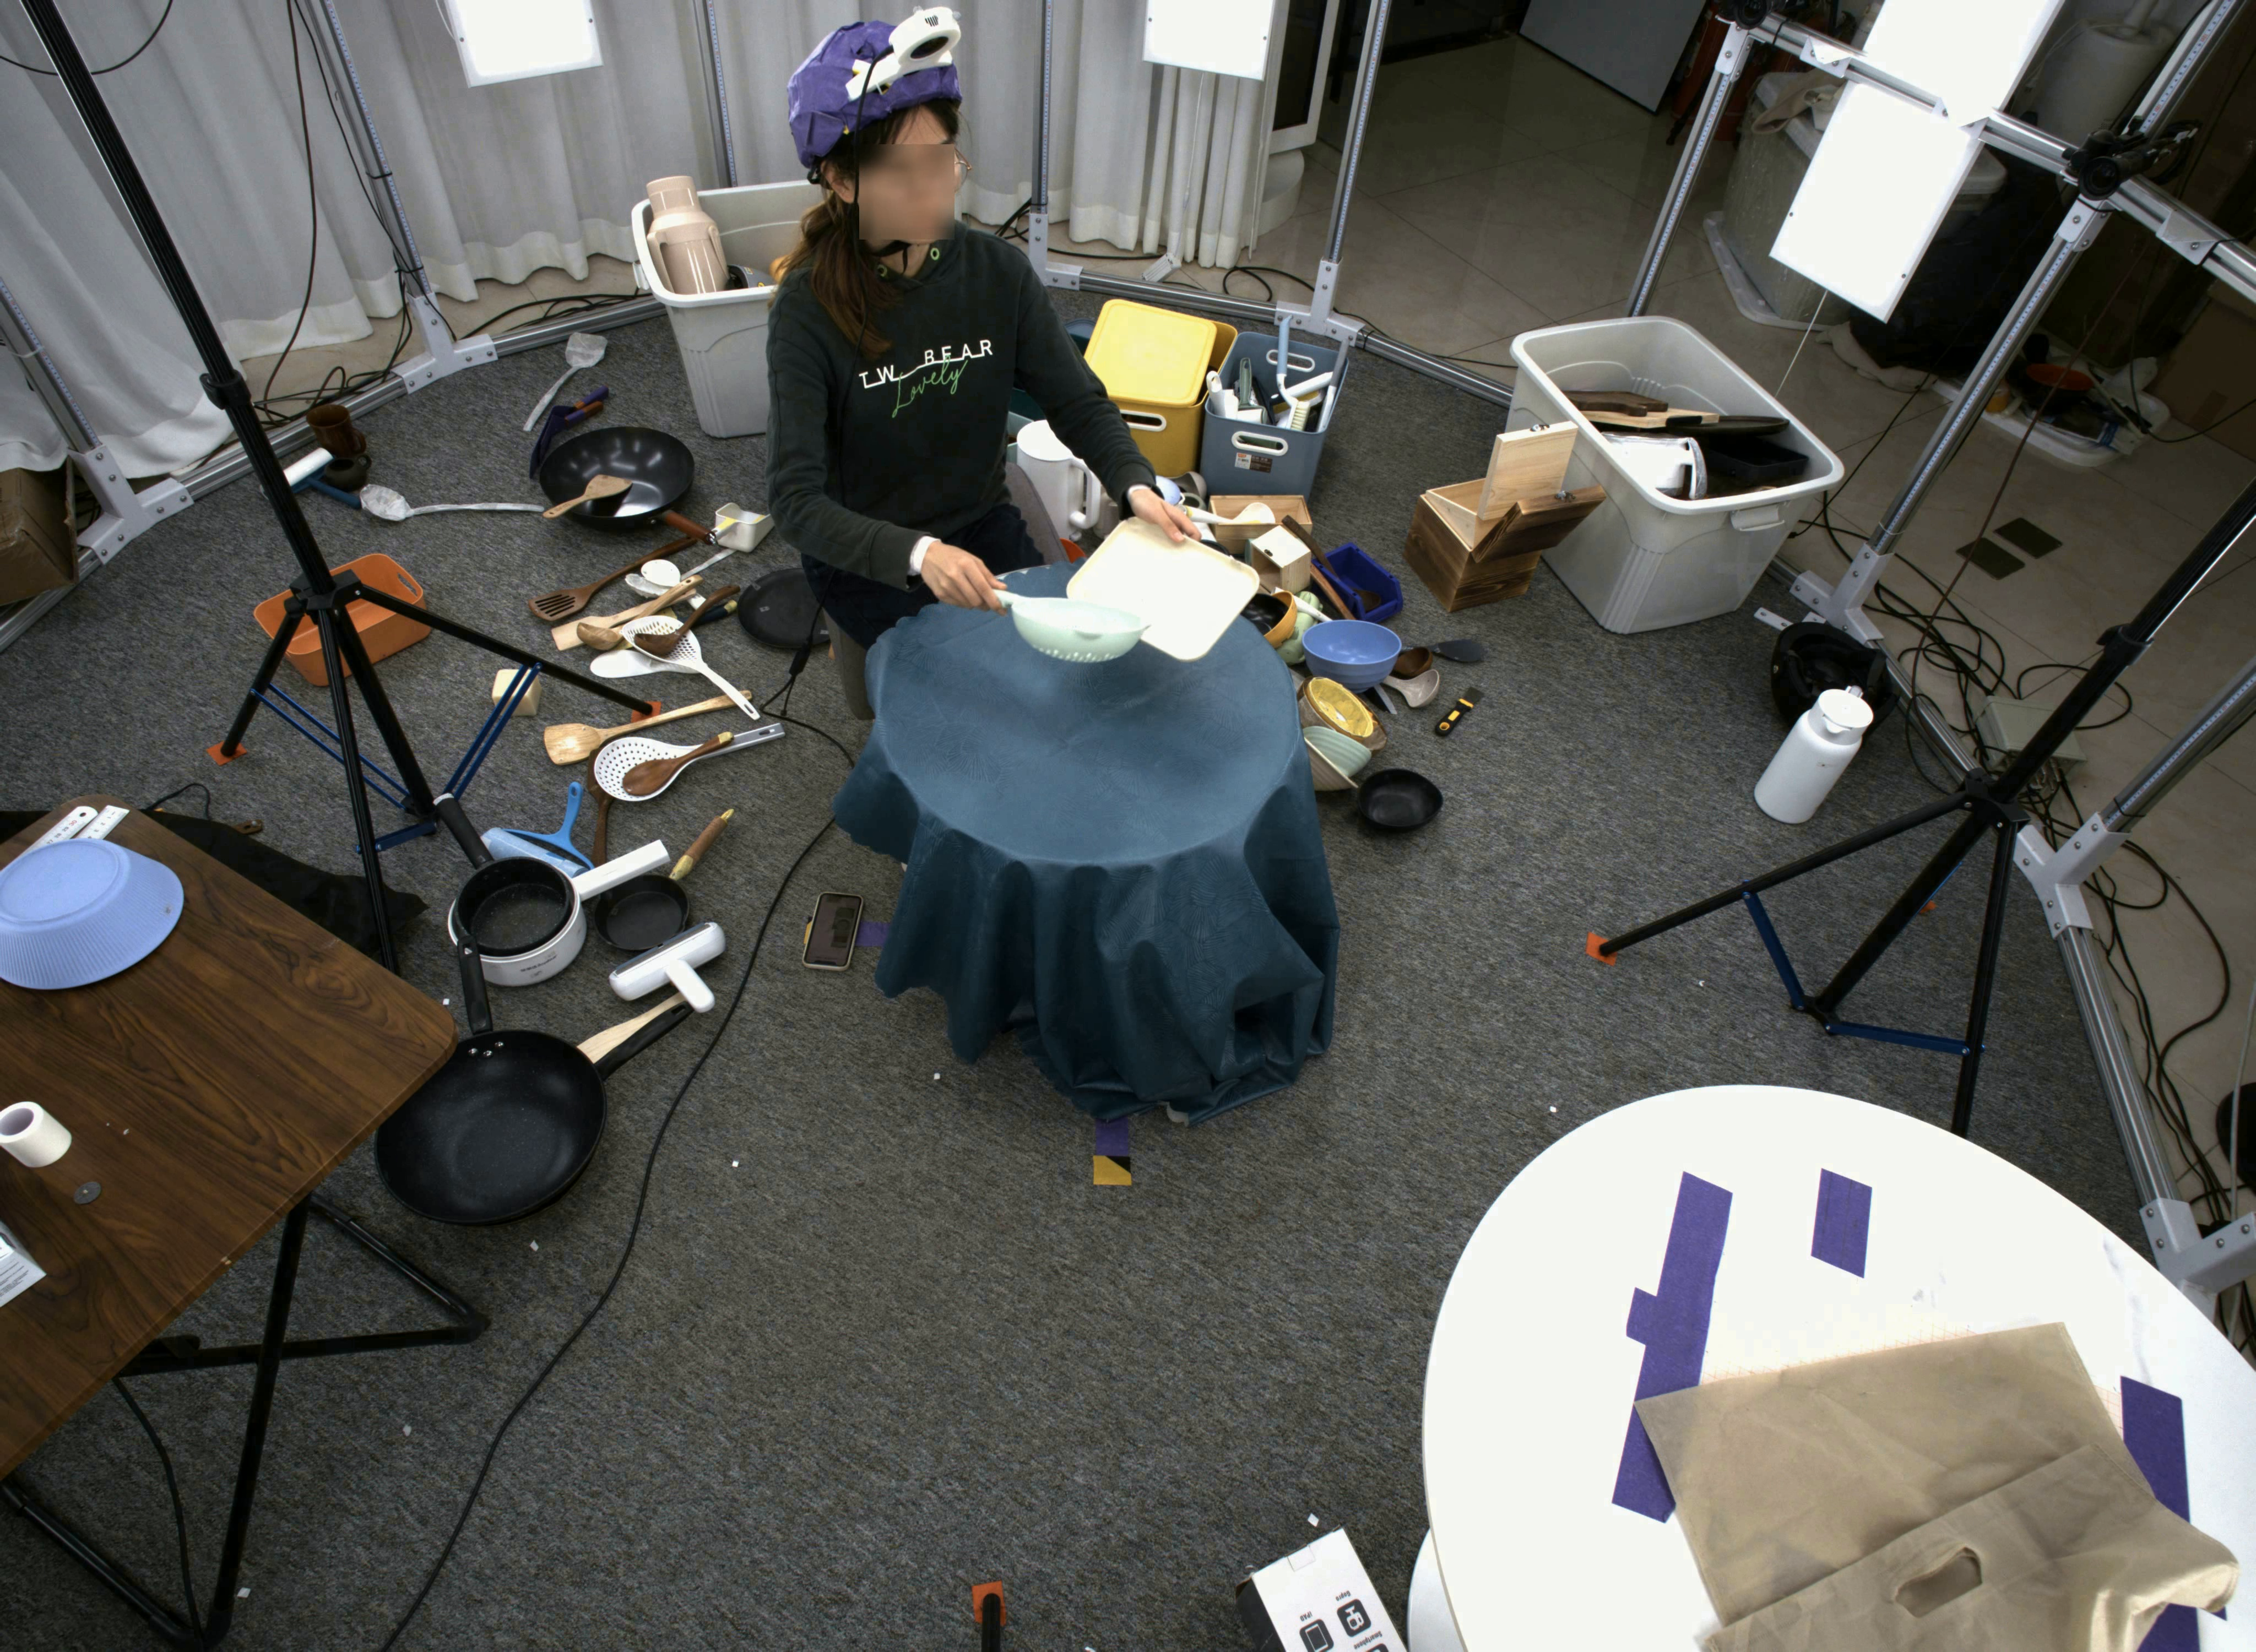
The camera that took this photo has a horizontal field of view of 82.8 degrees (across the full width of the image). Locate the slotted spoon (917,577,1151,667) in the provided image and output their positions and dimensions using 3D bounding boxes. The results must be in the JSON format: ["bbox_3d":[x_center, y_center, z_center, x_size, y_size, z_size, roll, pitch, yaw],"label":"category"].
[{"bbox_3d":[-0.141,-0.279,1.667,0.364,0.074,0.170,29,27,30],"label":"slotted spoon"}]

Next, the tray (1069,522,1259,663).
[{"bbox_3d":[0.049,-0.321,1.766,0.243,0.017,0.173,30,72,28],"label":"tray"}]
